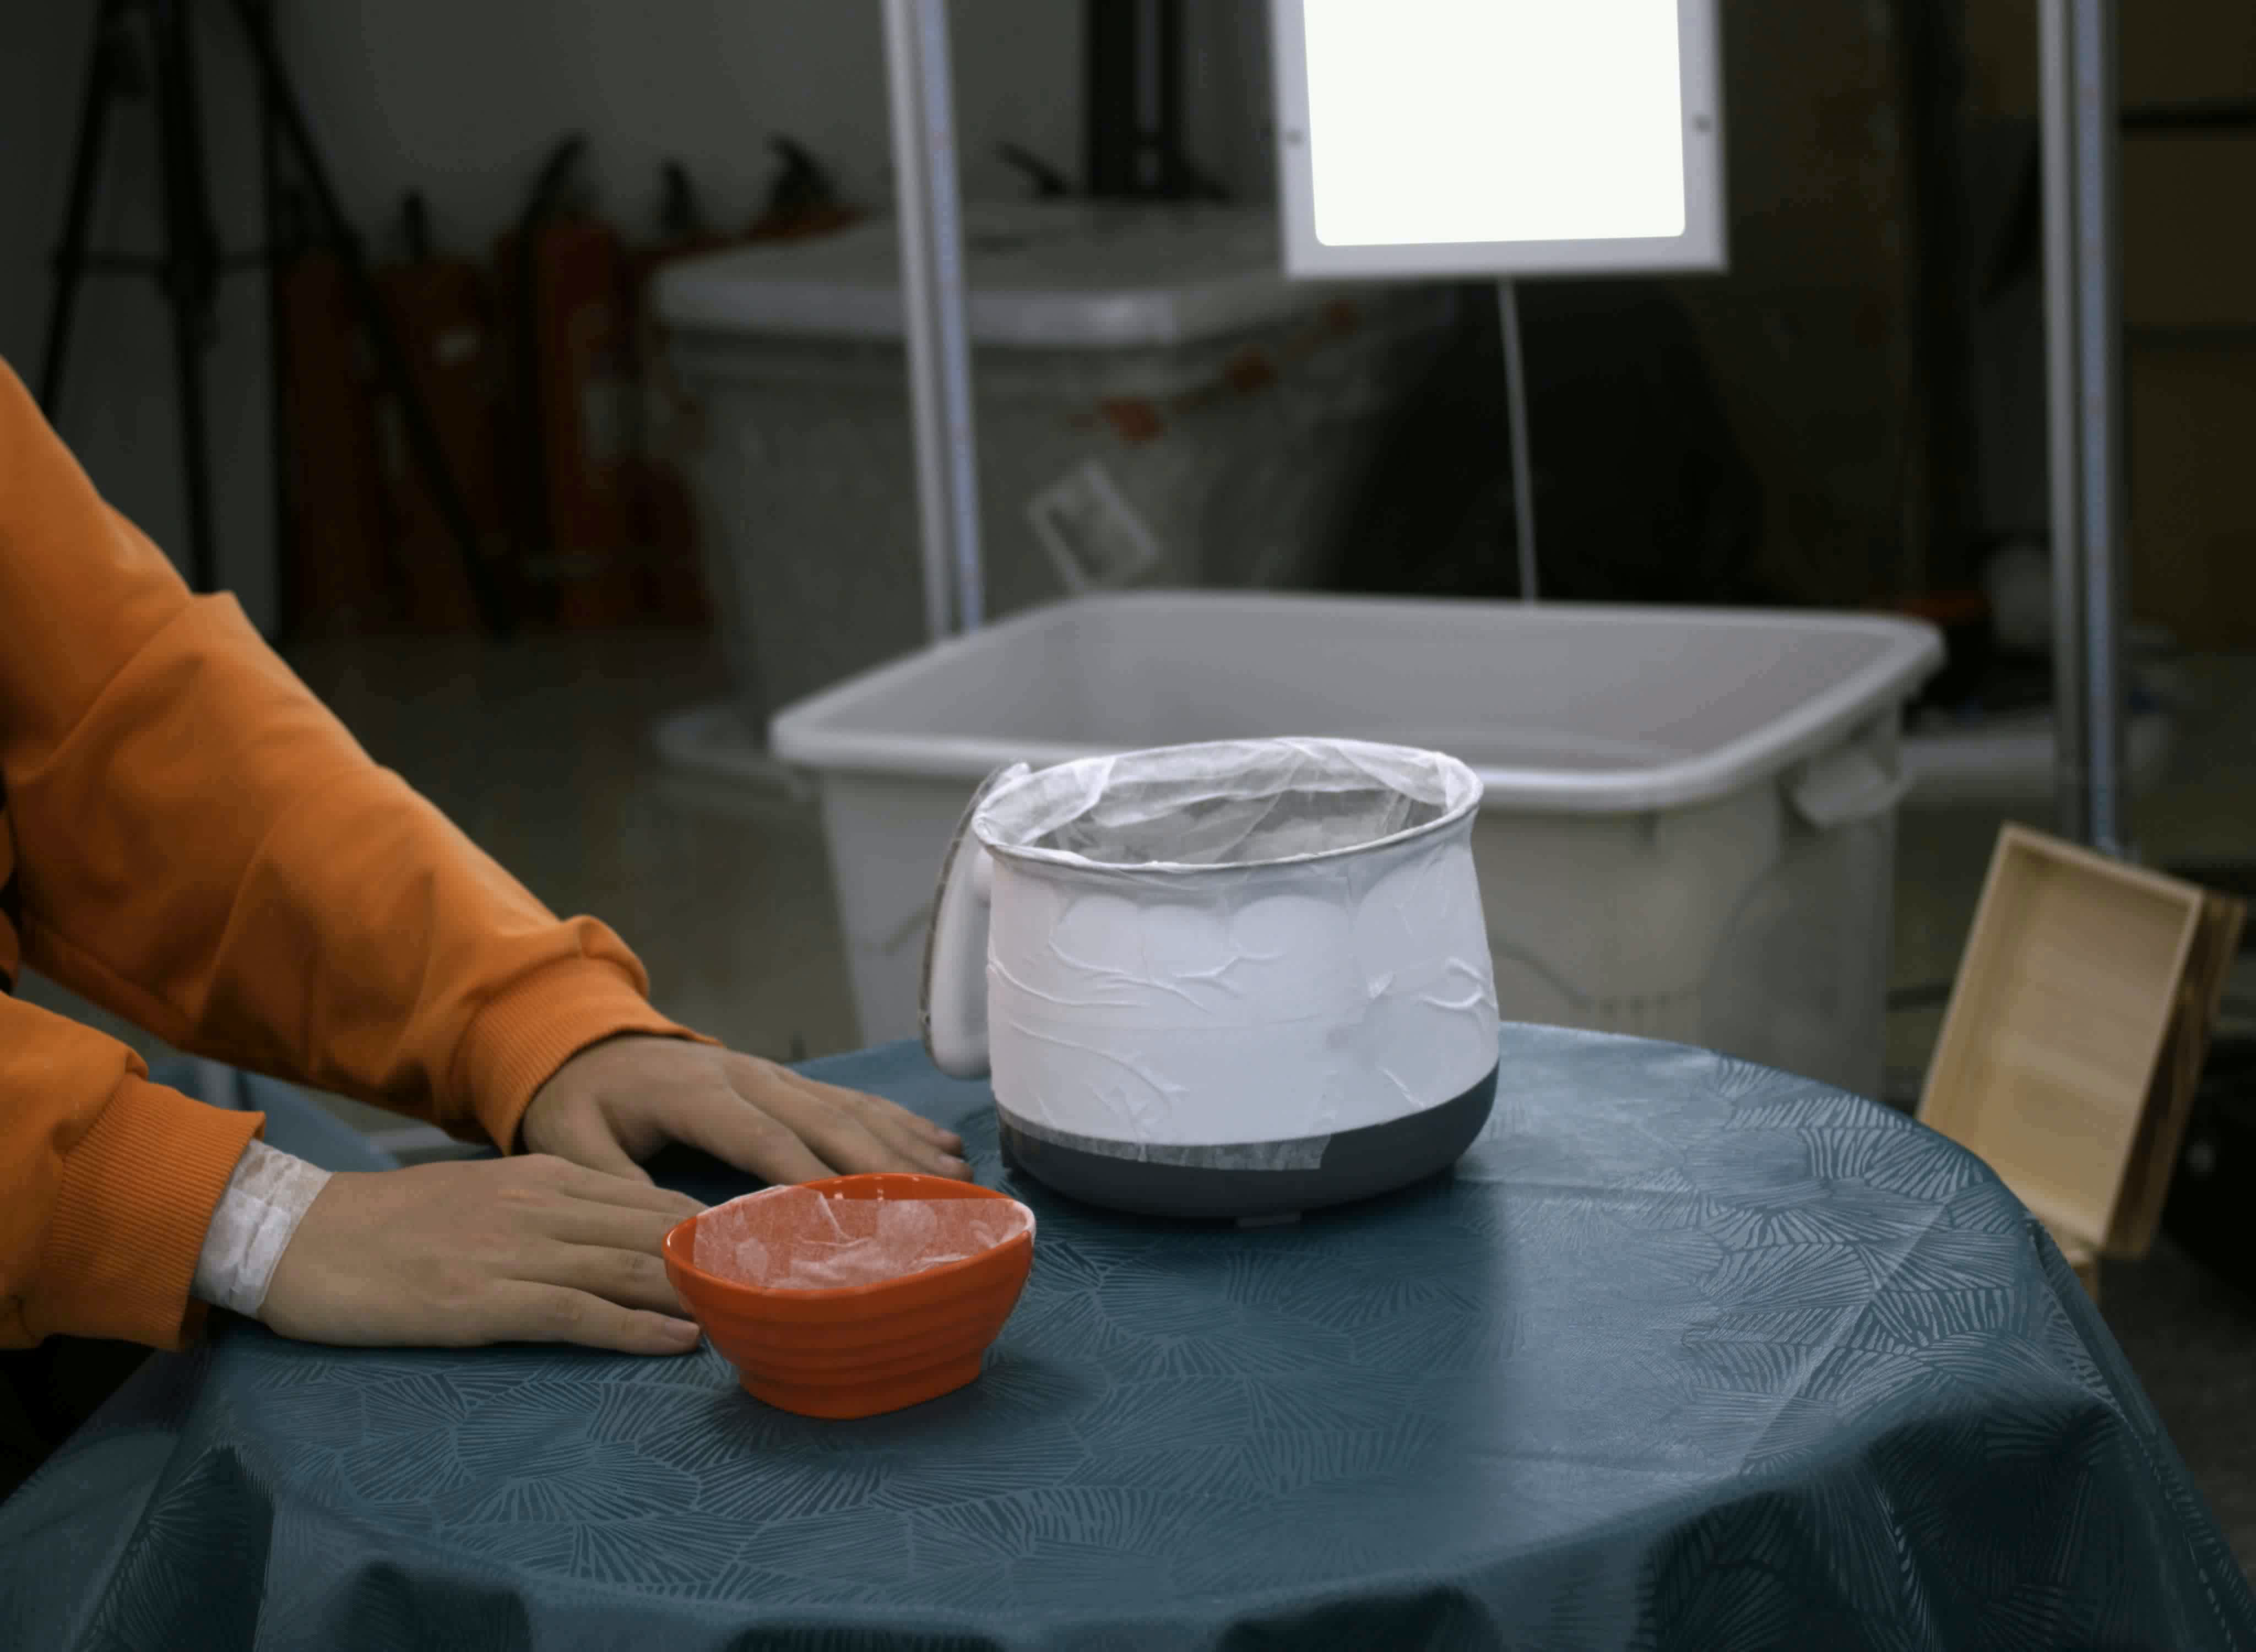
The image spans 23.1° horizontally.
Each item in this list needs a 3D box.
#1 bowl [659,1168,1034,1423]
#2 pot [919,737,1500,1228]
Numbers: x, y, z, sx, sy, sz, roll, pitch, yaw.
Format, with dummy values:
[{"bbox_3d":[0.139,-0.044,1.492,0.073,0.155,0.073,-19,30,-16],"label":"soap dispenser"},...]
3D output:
[{"bbox_3d":[-0.086,0.149,1.729,0.118,0.051,0.119,-5,15,0],"label":"bowl"},{"bbox_3d":[0.018,0.049,1.916,0.239,0.137,0.174,7,18,40],"label":"pot"}]
